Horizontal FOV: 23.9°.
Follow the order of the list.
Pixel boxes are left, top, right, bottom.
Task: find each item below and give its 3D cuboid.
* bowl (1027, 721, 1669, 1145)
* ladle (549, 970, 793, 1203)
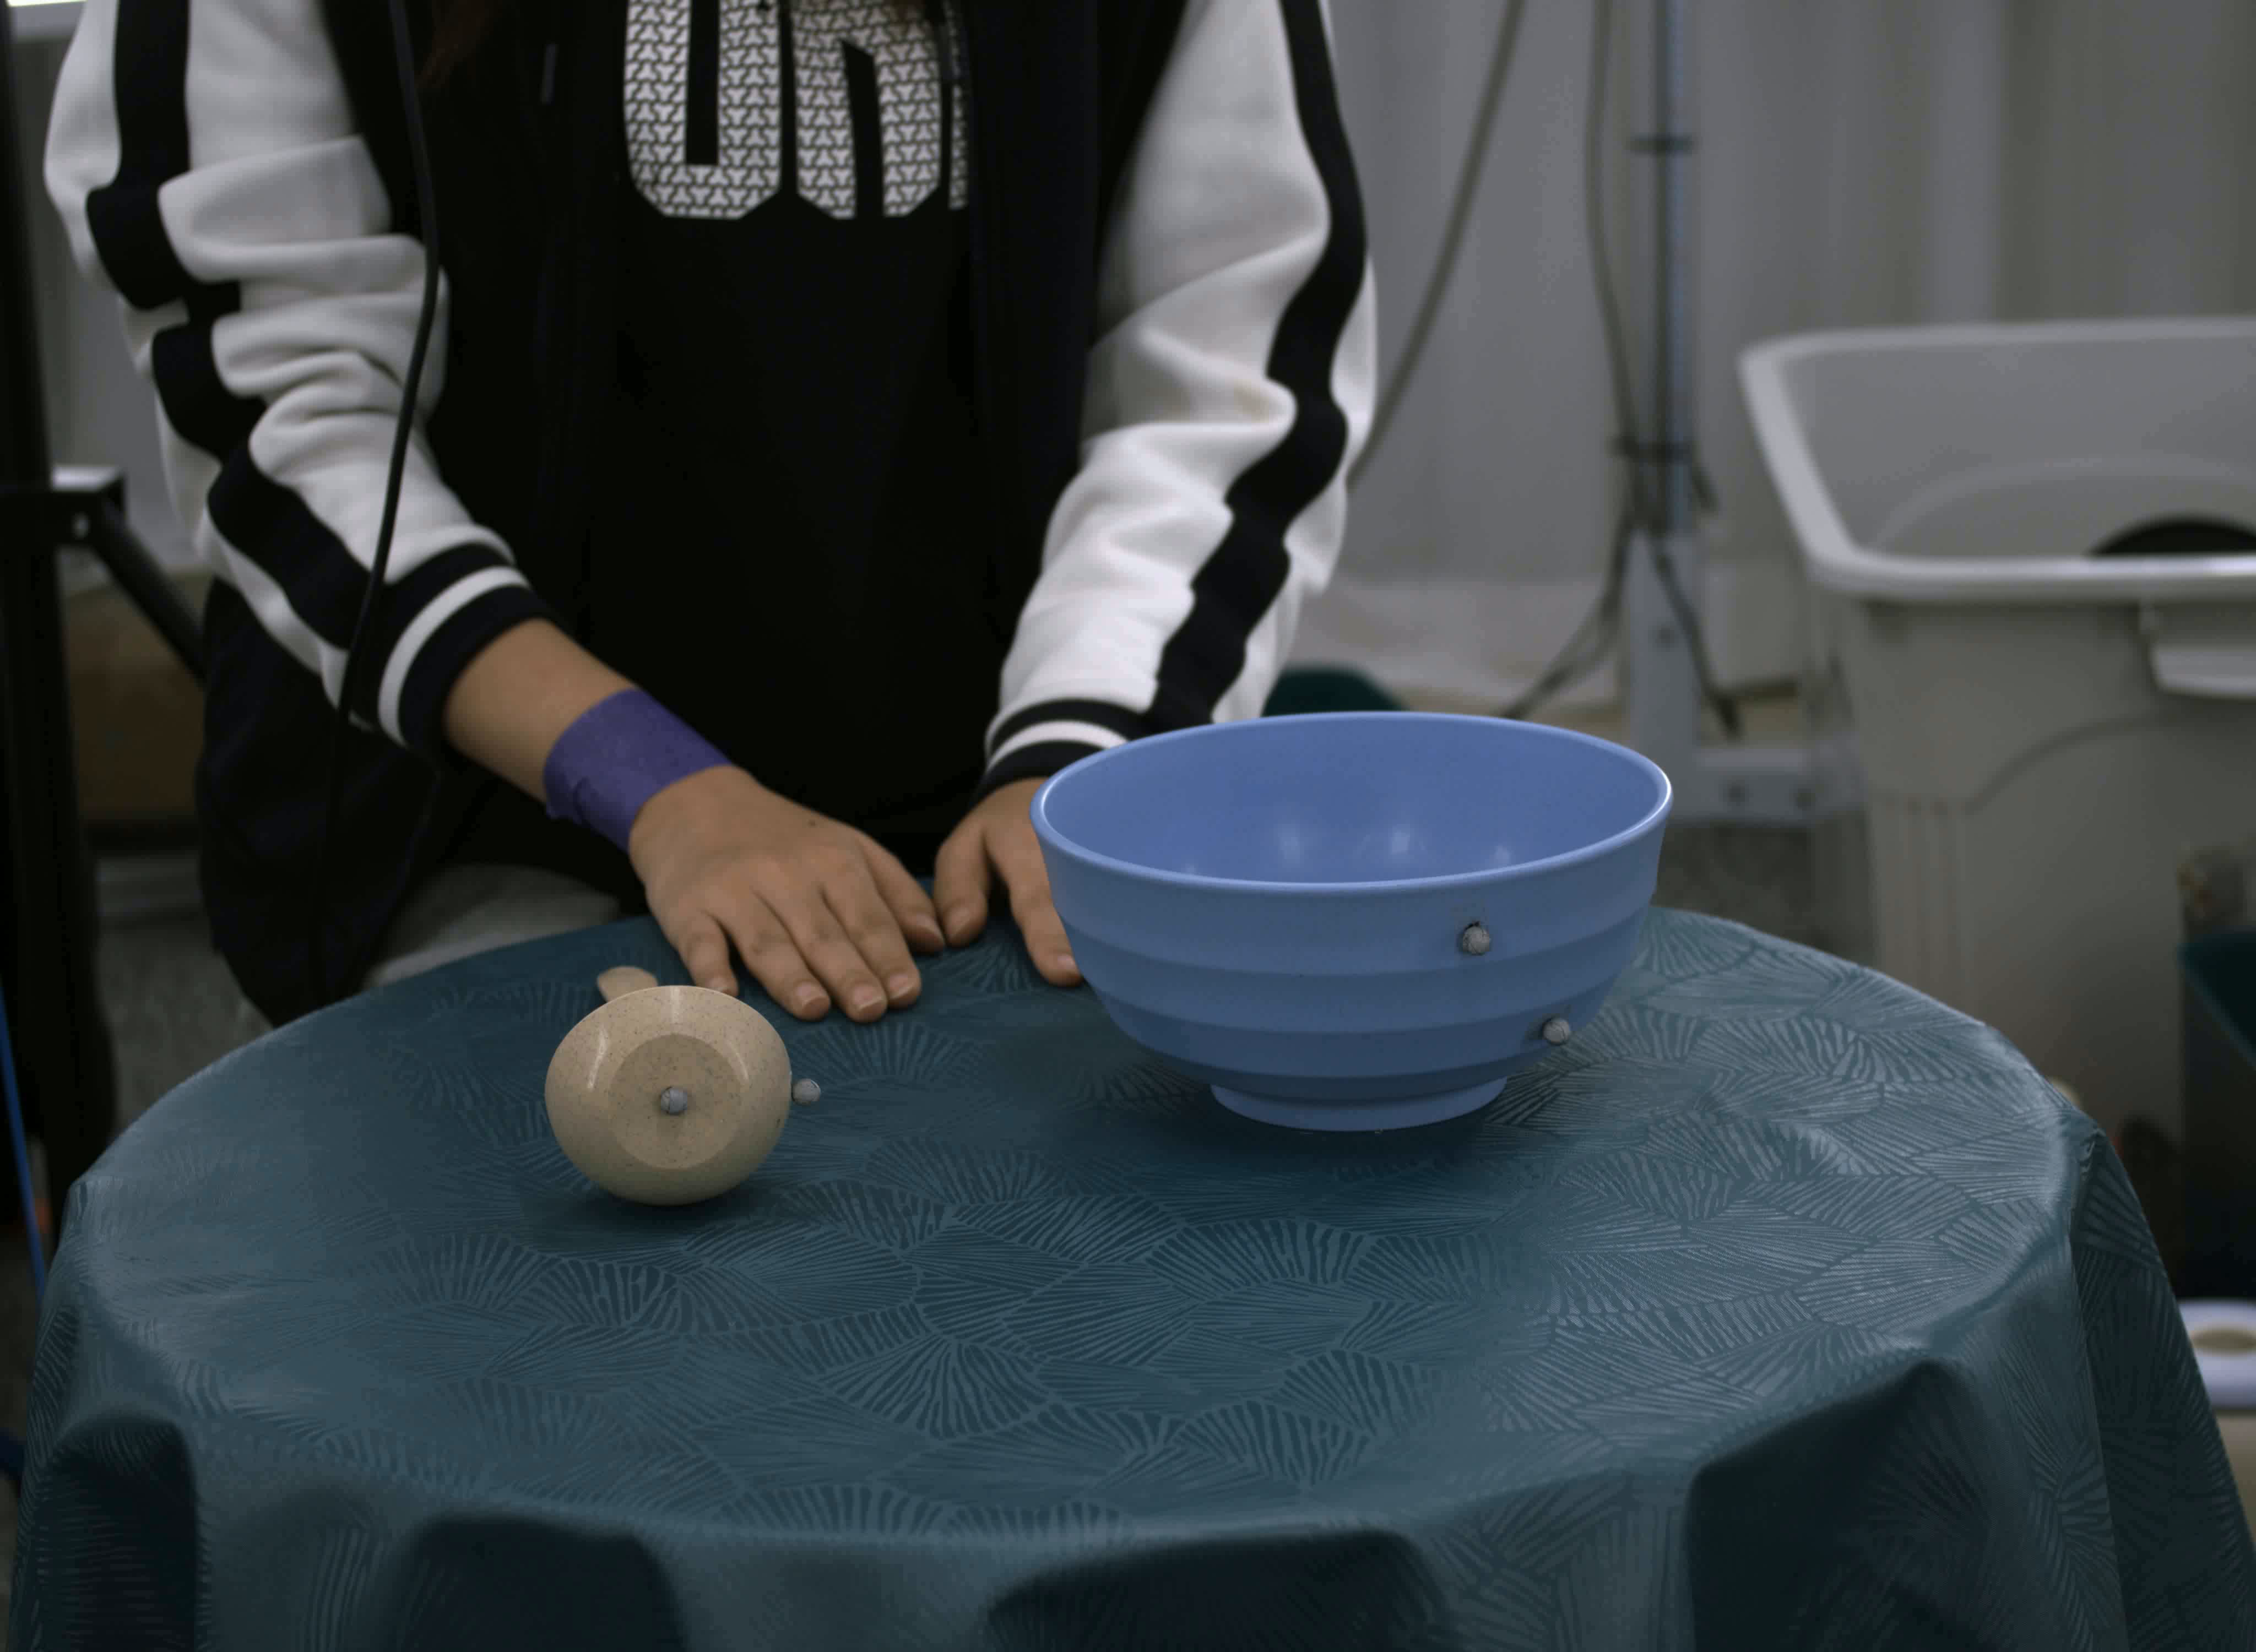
[{"bbox_3d":[0.069,0.039,1.630,0.195,0.095,0.197,-4,15,0],"label":"bowl"},{"bbox_3d":[-0.152,0.050,1.653,0.071,0.073,0.257,-4,16,-10],"label":"ladle"}]
